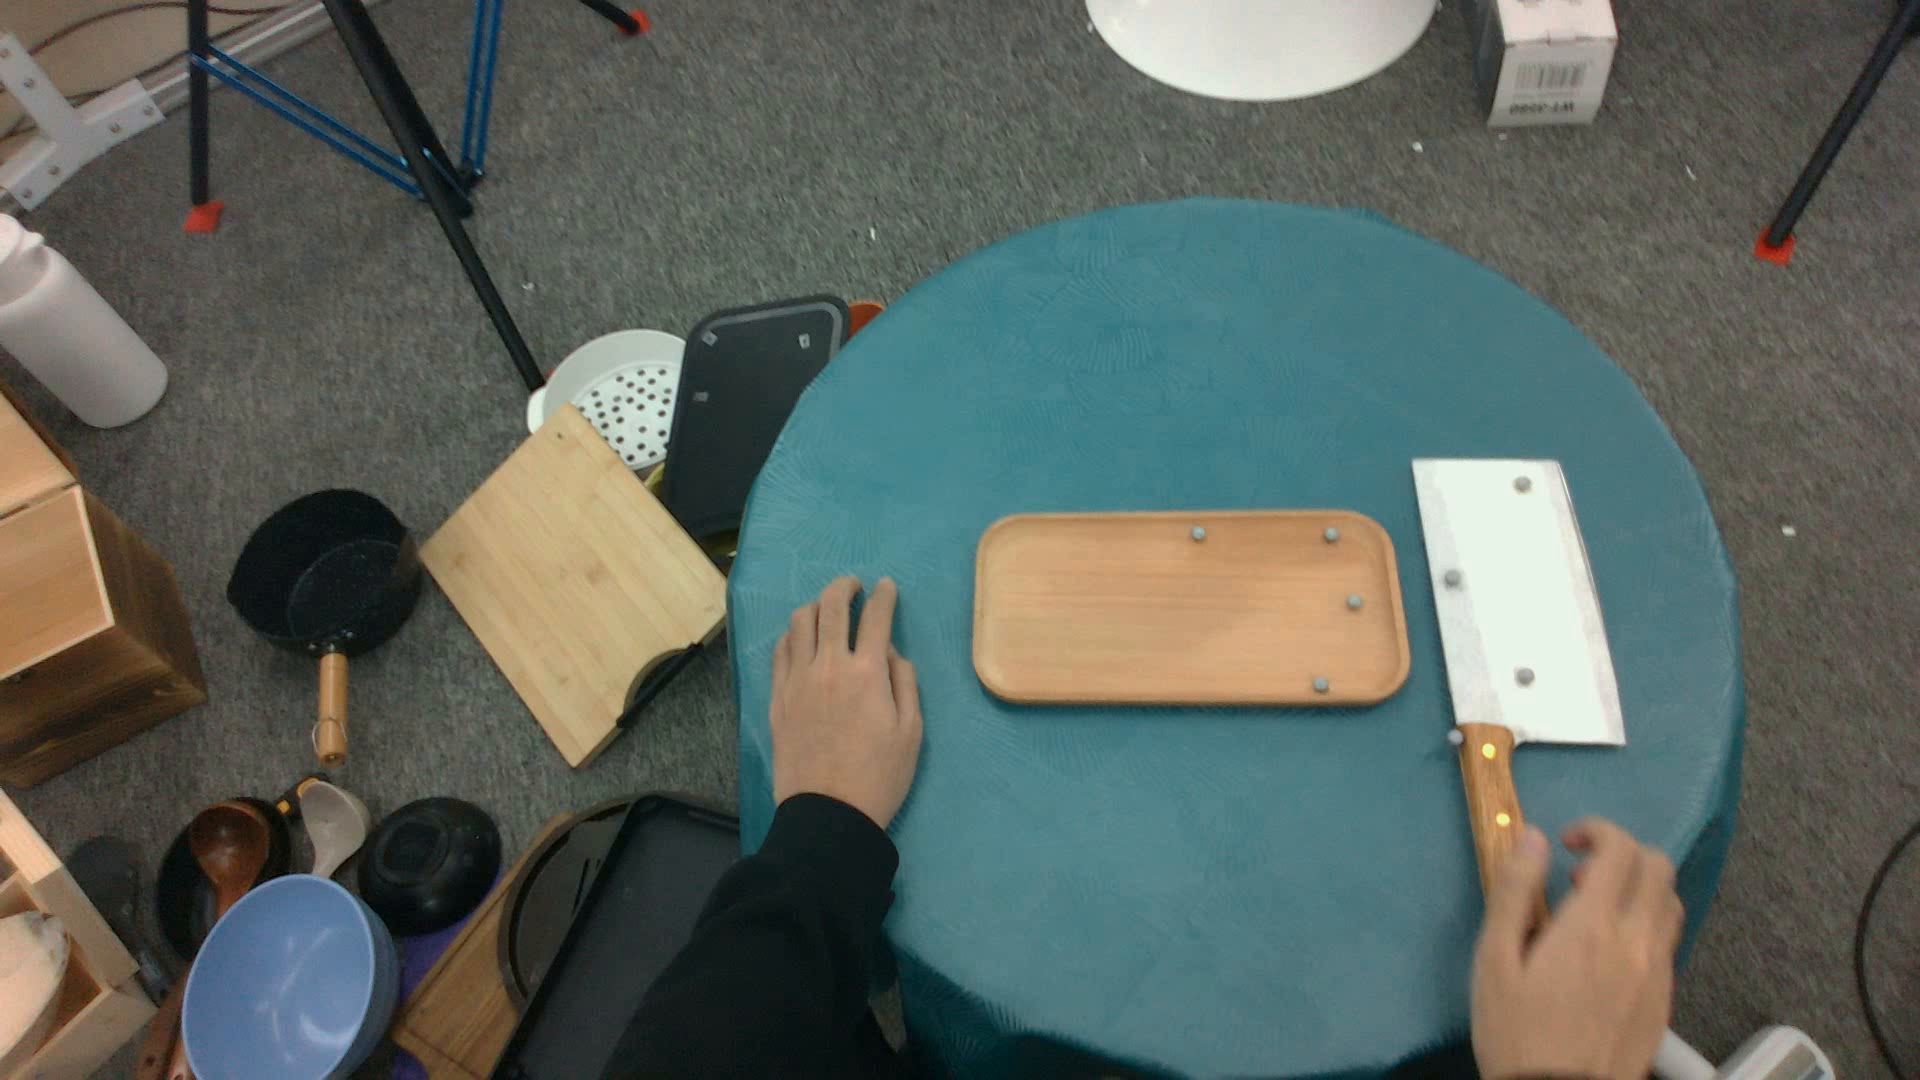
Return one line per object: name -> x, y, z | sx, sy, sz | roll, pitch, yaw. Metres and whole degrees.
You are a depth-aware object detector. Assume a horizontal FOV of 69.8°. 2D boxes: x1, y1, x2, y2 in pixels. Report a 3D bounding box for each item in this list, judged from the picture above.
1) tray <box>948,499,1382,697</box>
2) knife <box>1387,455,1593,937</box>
tray -> 0.119, 0.034, 0.821 | 0.250, 0.023, 0.131 | 1, 56, 6
knife -> 0.306, 0.074, 0.782 | 0.093, 0.021, 0.307 | 1, 56, 3
